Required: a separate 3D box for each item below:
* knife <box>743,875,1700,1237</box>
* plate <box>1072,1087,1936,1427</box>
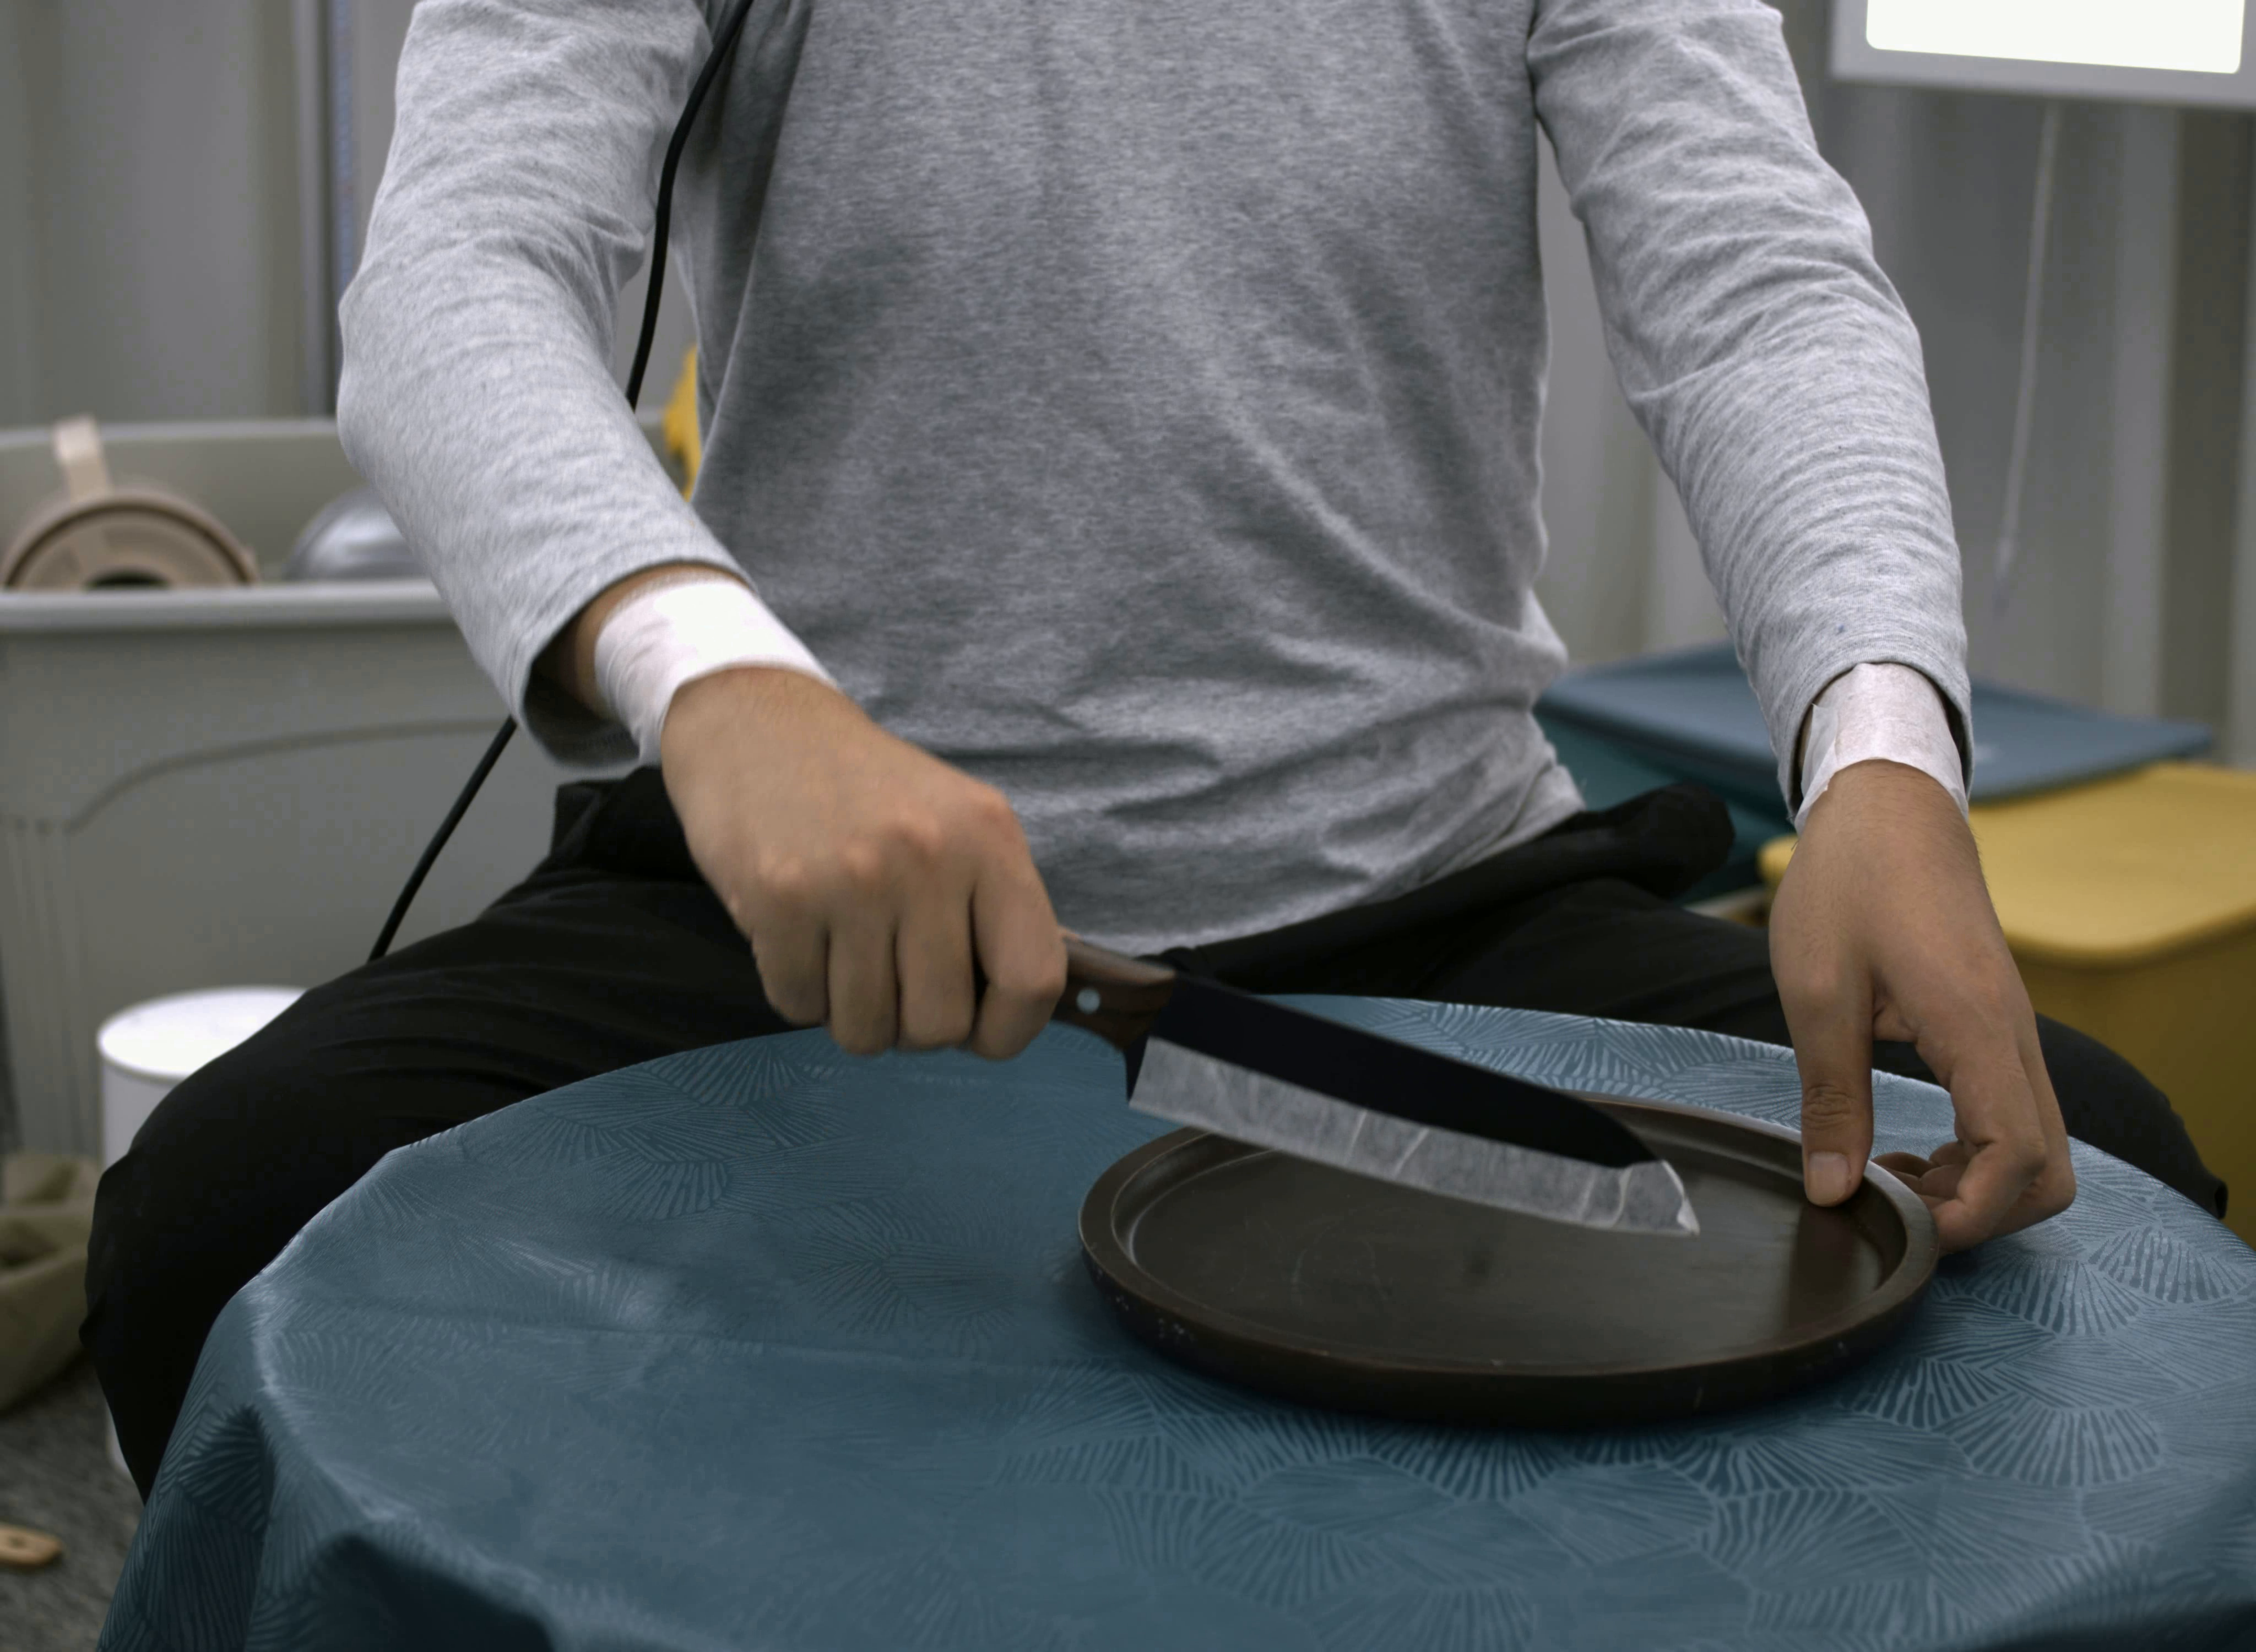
[{"bbox_3d":[0.026,0.066,1.496,0.288,0.050,0.020,18,25,3],"label":"knife"},{"bbox_3d":[0.110,0.123,1.542,0.254,0.029,0.253,-1,15,1],"label":"plate"}]
